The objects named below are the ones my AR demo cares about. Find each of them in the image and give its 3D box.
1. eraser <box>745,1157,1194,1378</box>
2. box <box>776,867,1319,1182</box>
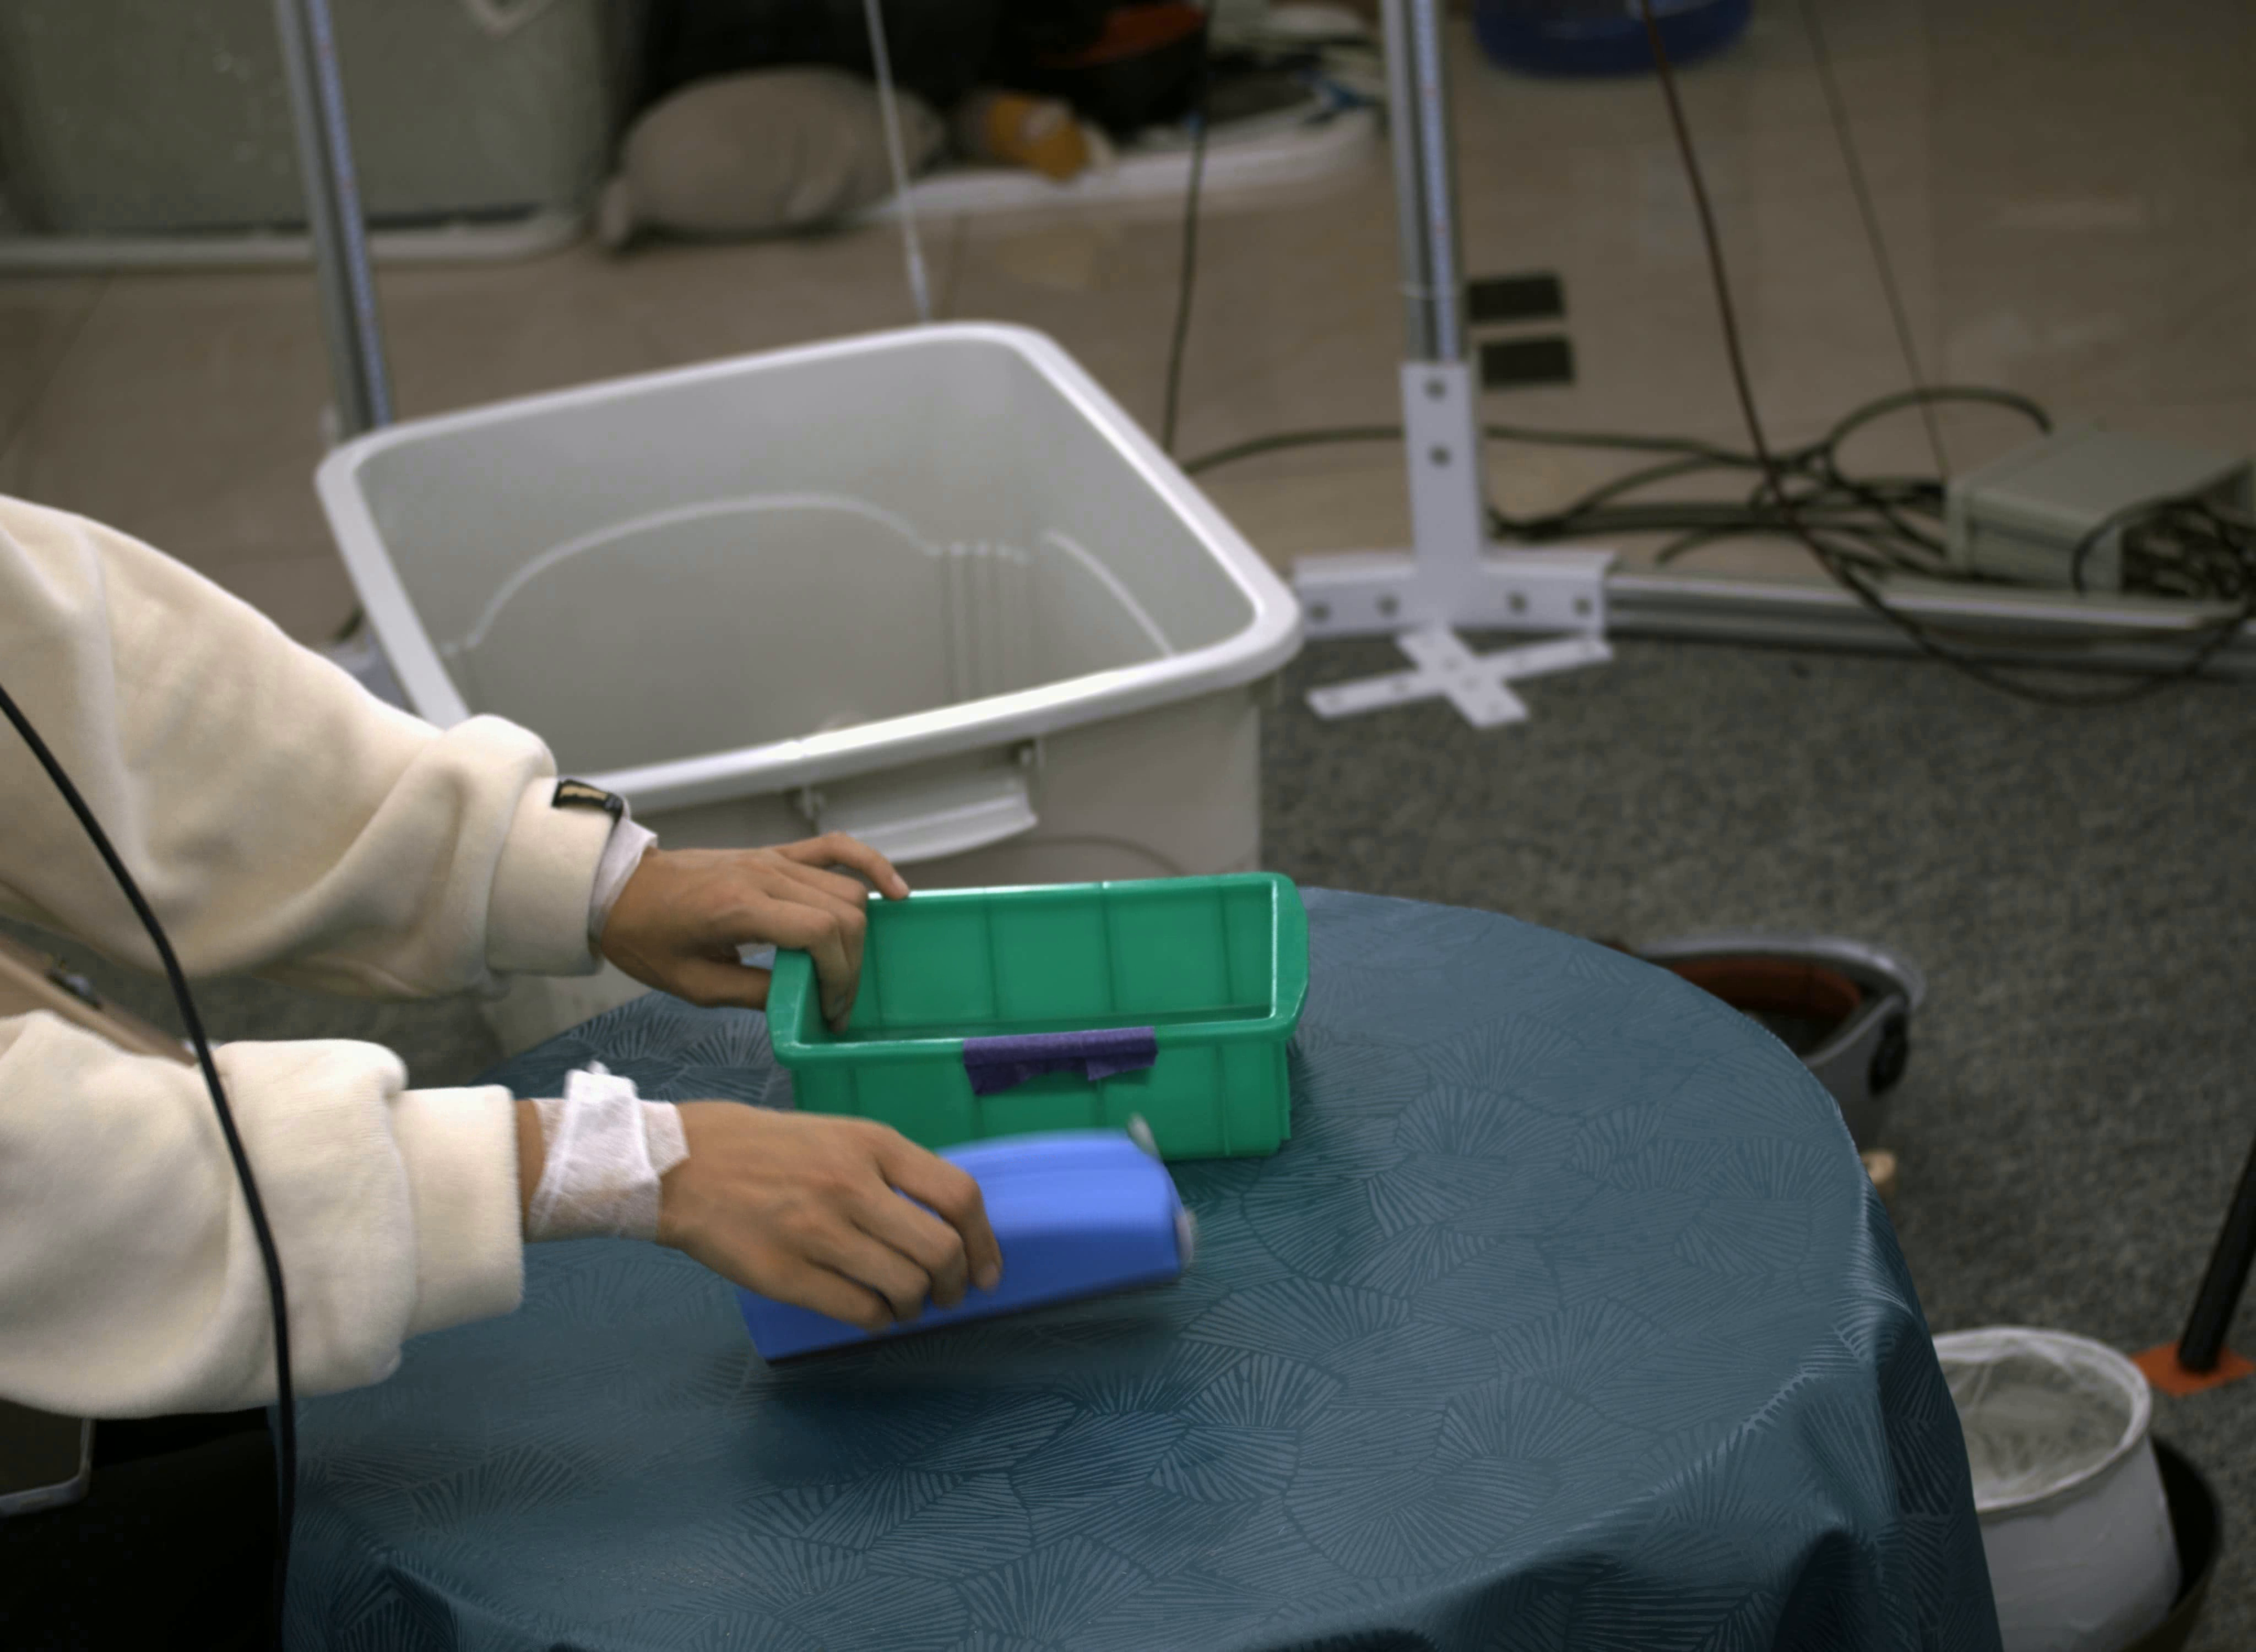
[{"bbox_3d":[-0.059,0.154,2.034,0.162,0.048,0.053,-10,37,3],"label":"eraser"},{"bbox_3d":[-0.029,0.079,2.207,0.210,0.066,0.136,-4,27,2],"label":"box"}]
